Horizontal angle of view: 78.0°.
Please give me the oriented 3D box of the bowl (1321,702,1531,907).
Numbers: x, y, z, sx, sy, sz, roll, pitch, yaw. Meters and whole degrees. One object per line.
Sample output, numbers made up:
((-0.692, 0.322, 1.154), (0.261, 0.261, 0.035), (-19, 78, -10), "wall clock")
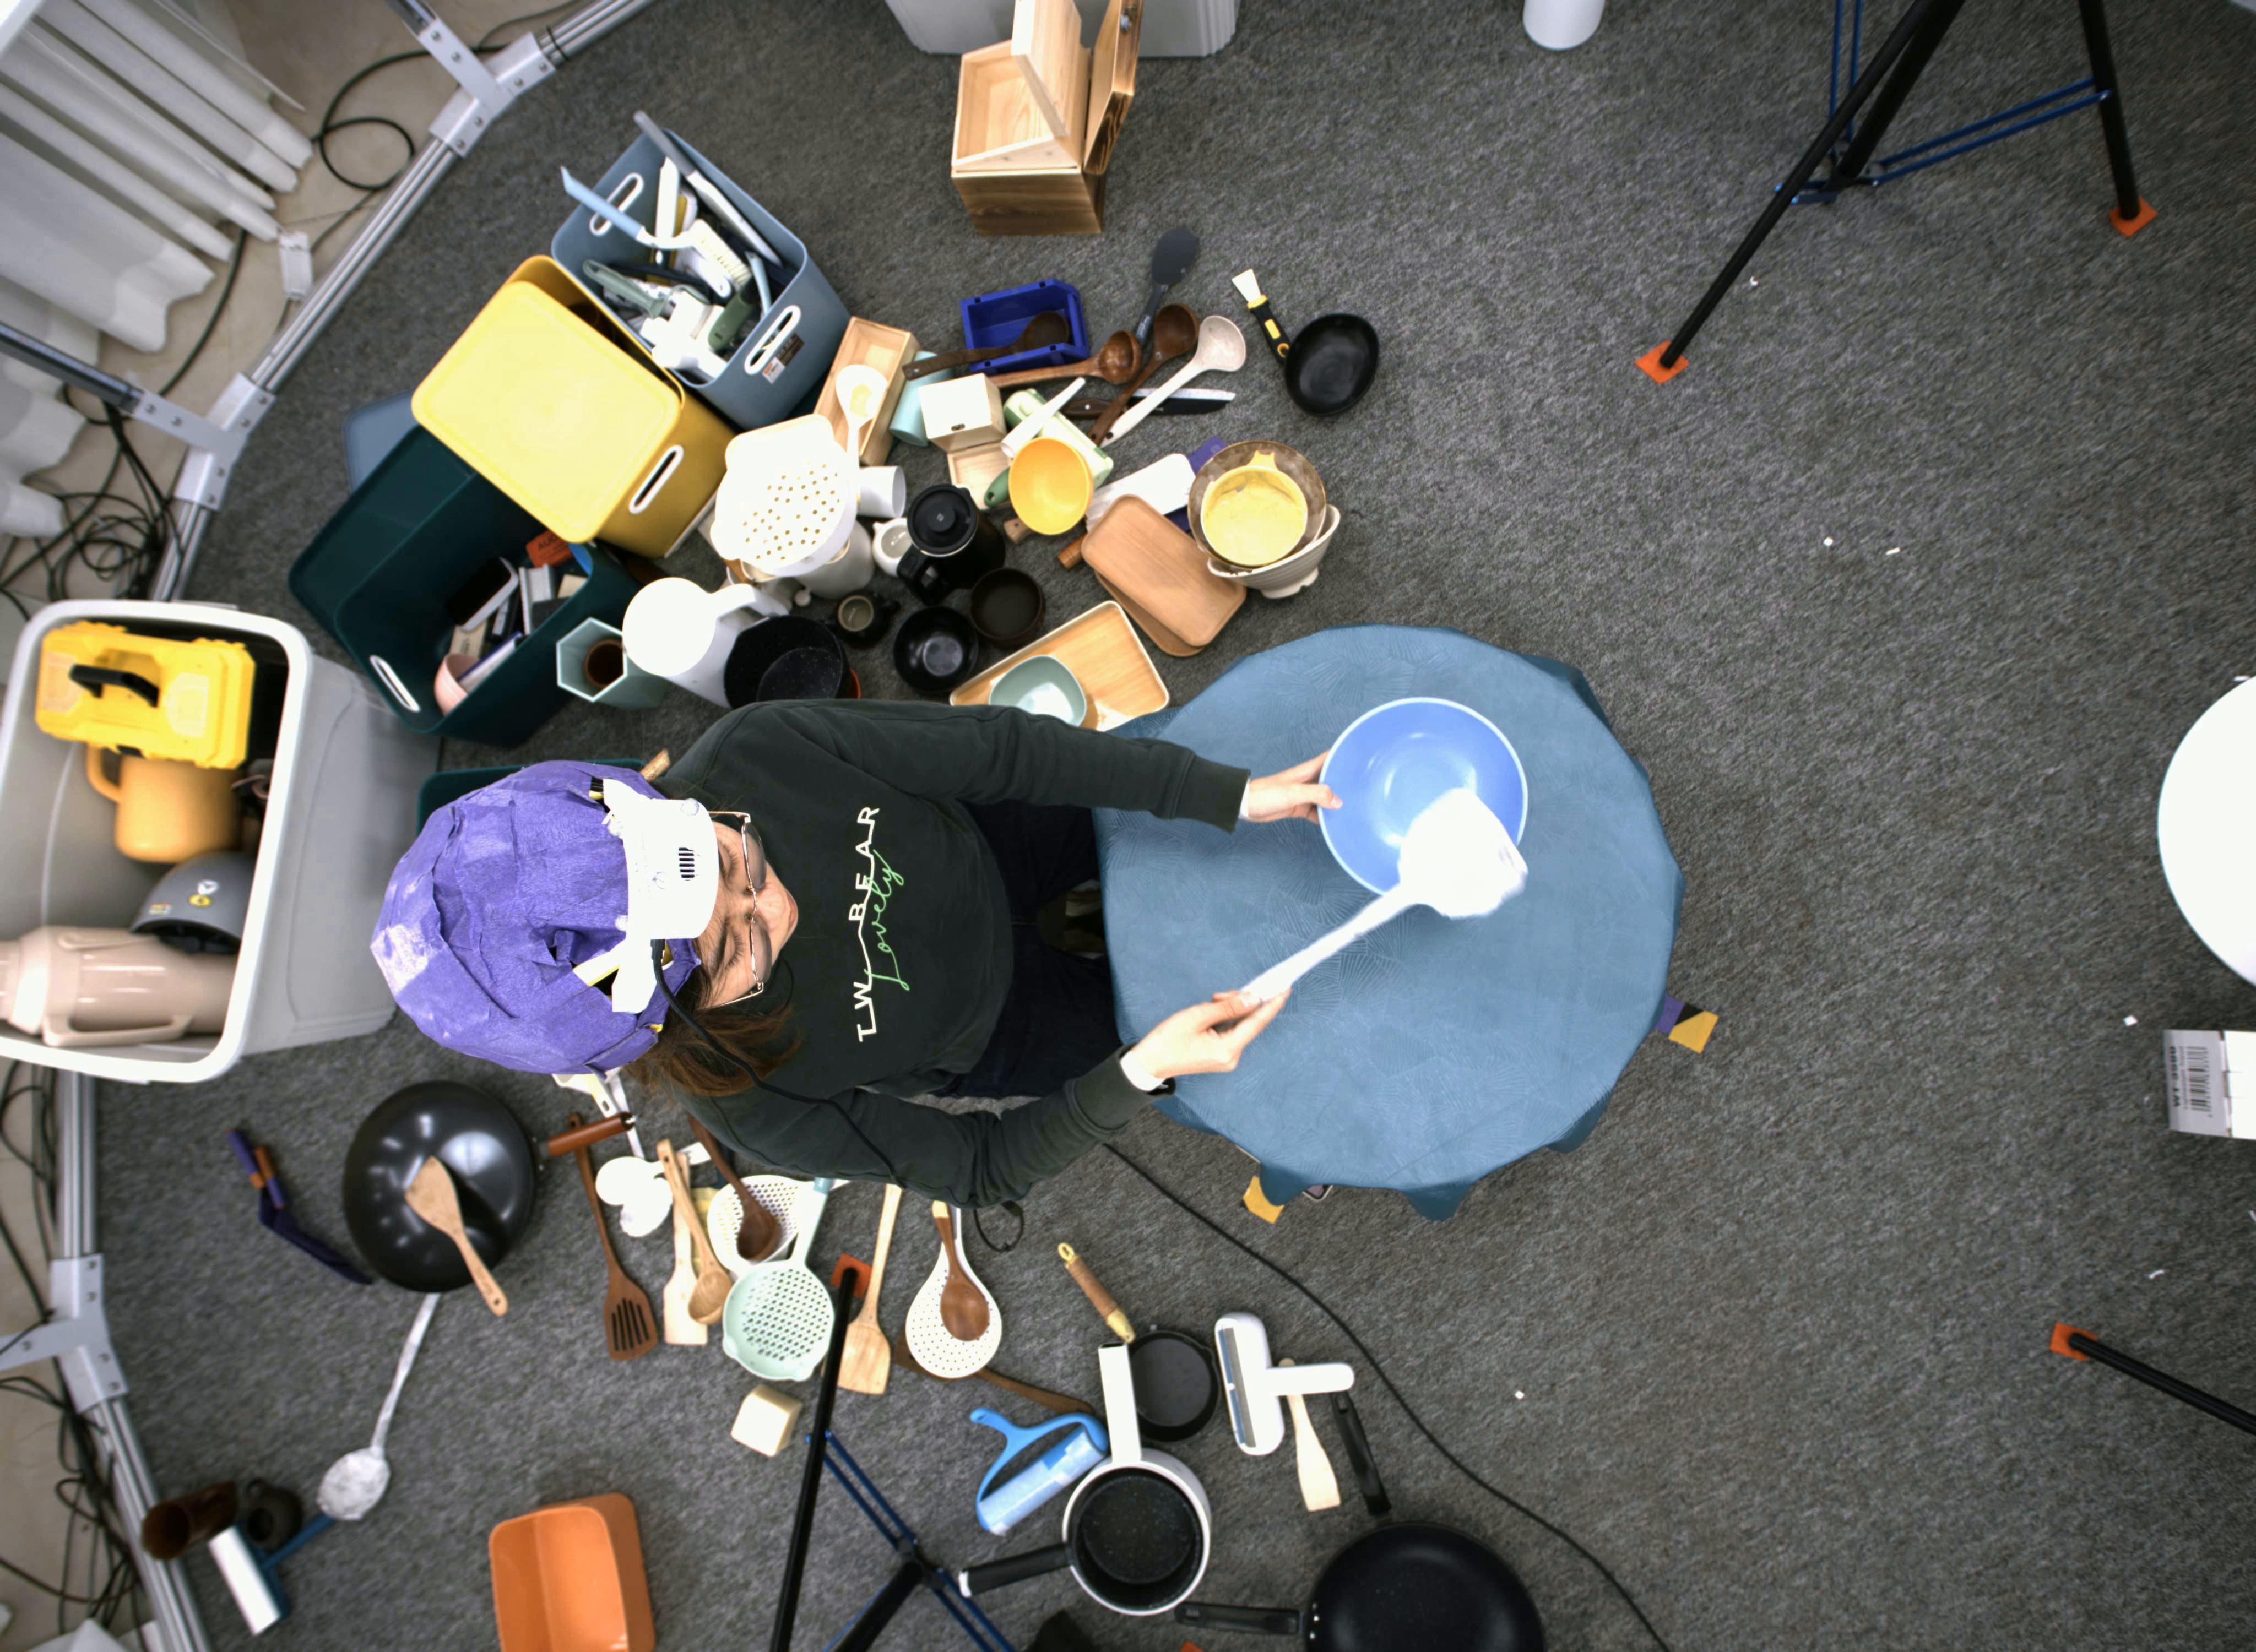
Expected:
((0.290, -0.026, 1.348), (0.197, 0.094, 0.198), (2, 99, 12), "bowl")

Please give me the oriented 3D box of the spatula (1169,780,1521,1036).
((0.178, 0.093, 1.228), (0.369, 0.044, 0.098), (-37, 83, 17), "spatula")
